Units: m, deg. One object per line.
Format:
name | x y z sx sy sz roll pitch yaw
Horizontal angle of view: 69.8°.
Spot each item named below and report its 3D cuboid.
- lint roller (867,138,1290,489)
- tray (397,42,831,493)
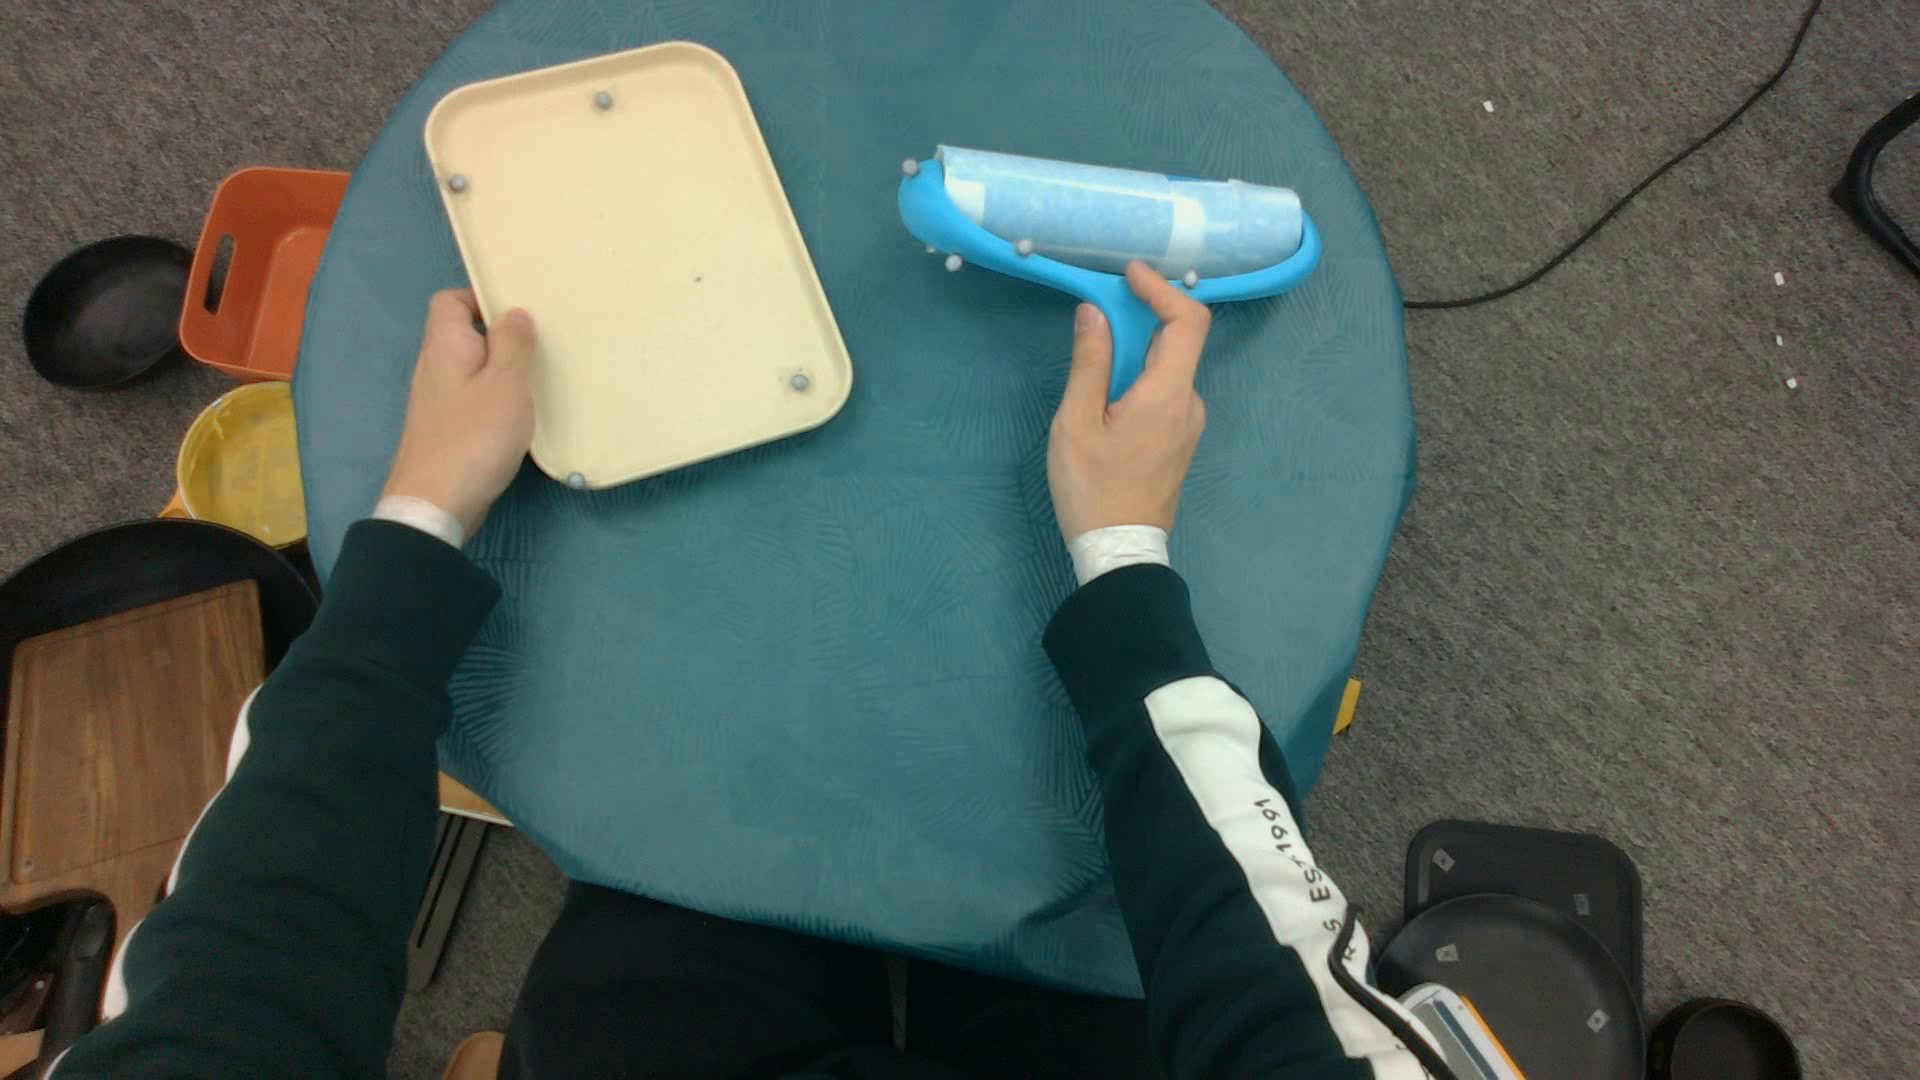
lint roller | 0.069 -0.121 0.716 0.229 0.067 0.180 -1 76 -14
tray | -0.182 -0.148 0.727 0.171 0.017 0.240 -19 77 -17
